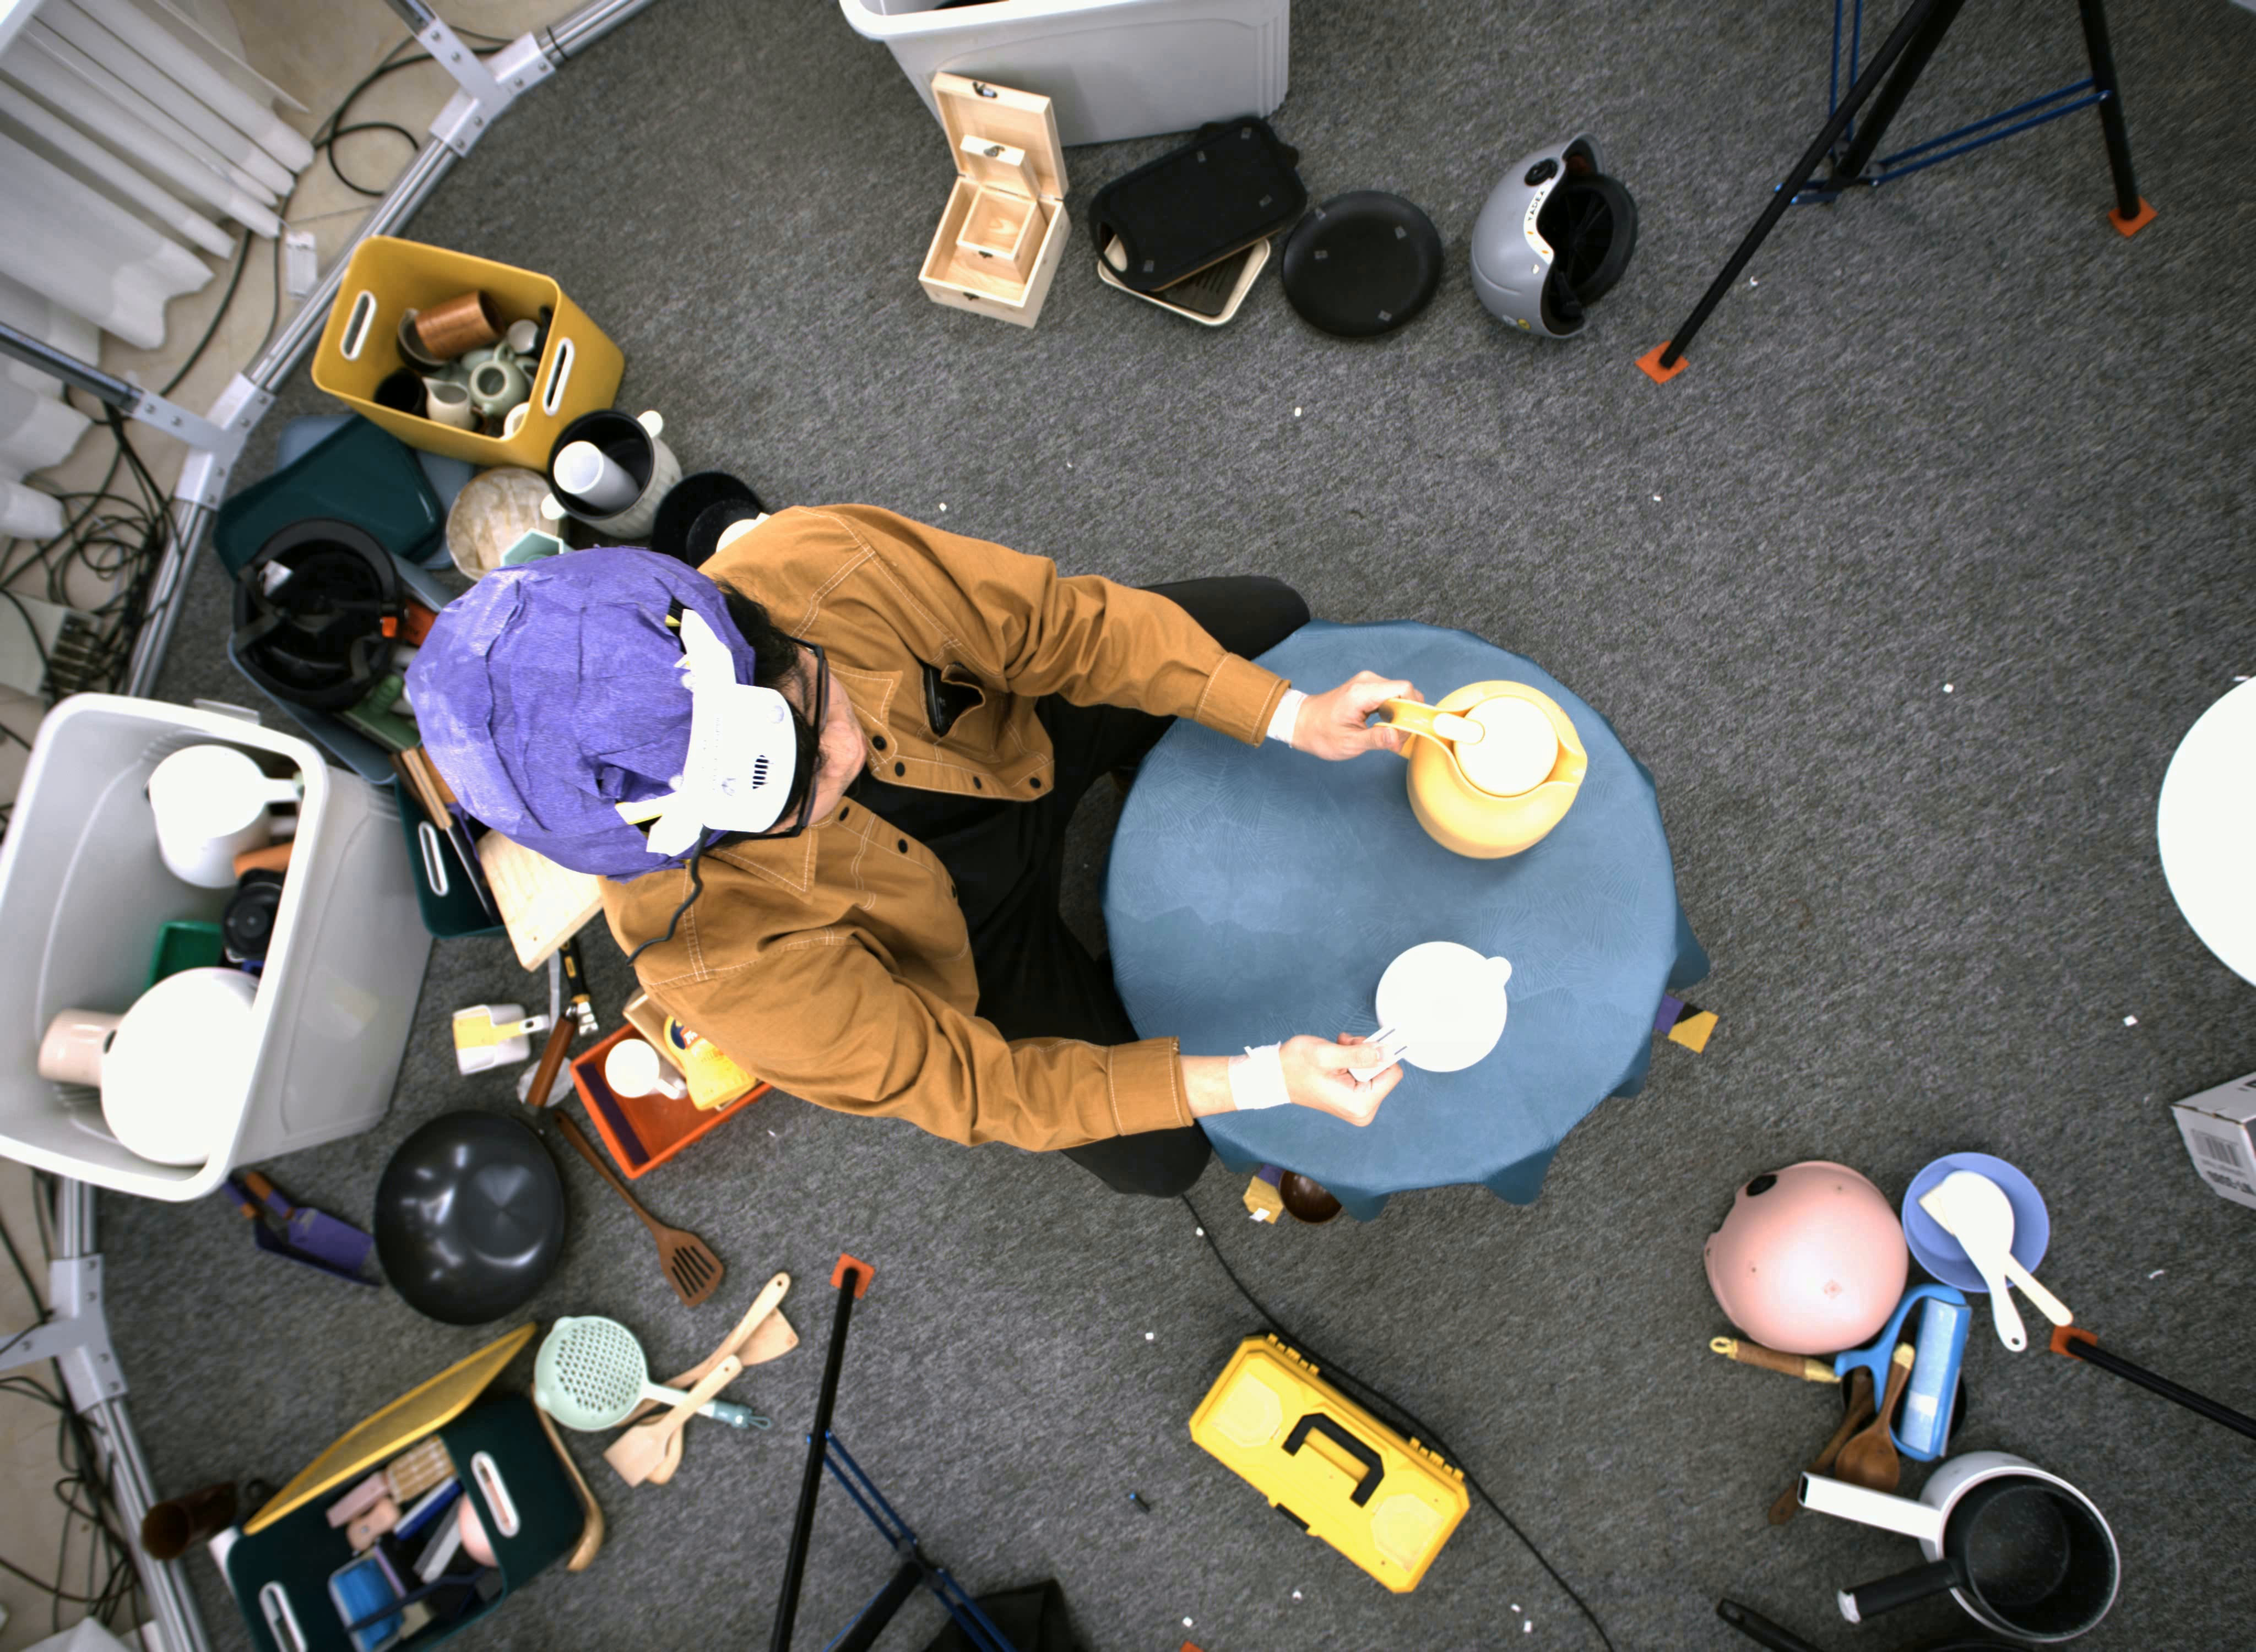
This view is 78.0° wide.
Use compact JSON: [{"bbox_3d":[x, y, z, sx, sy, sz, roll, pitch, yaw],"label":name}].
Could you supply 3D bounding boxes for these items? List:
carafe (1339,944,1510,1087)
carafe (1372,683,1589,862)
[{"bbox_3d":[0.281,0.183,1.318,0.173,0.269,0.123,-37,81,5],"label":"carafe"},{"bbox_3d":[0.334,-0.066,1.322,0.202,0.261,0.163,23,87,10],"label":"carafe"}]
